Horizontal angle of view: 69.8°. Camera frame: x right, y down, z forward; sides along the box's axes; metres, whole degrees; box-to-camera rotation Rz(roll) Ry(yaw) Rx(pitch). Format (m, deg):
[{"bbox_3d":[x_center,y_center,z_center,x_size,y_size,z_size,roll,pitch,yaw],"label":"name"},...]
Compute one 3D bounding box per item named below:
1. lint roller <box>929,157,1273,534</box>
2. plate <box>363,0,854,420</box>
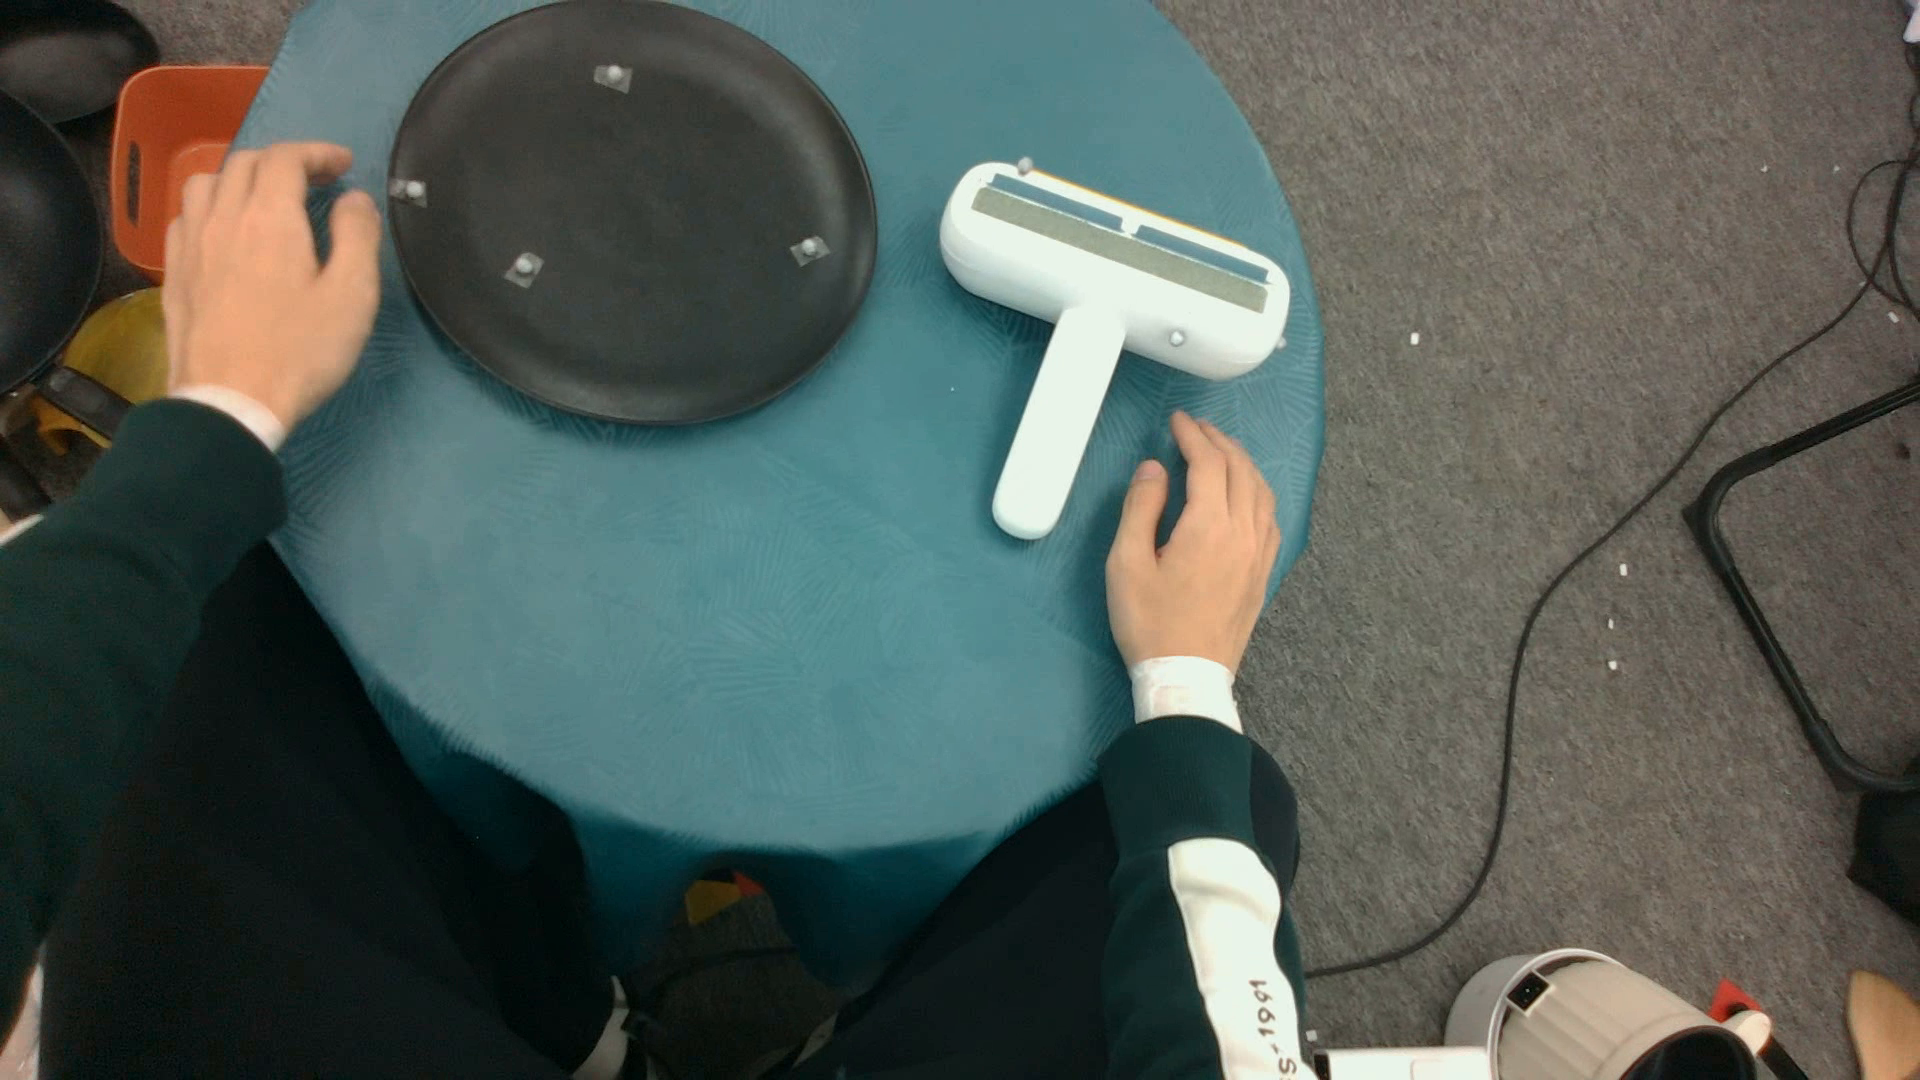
[{"bbox_3d":[0.051,-0.094,0.751,0.193,0.074,0.193,25,81,0],"label":"lint roller"},{"bbox_3d":[-0.176,-0.172,0.711,0.244,0.023,0.245,5,71,-15],"label":"plate"}]
